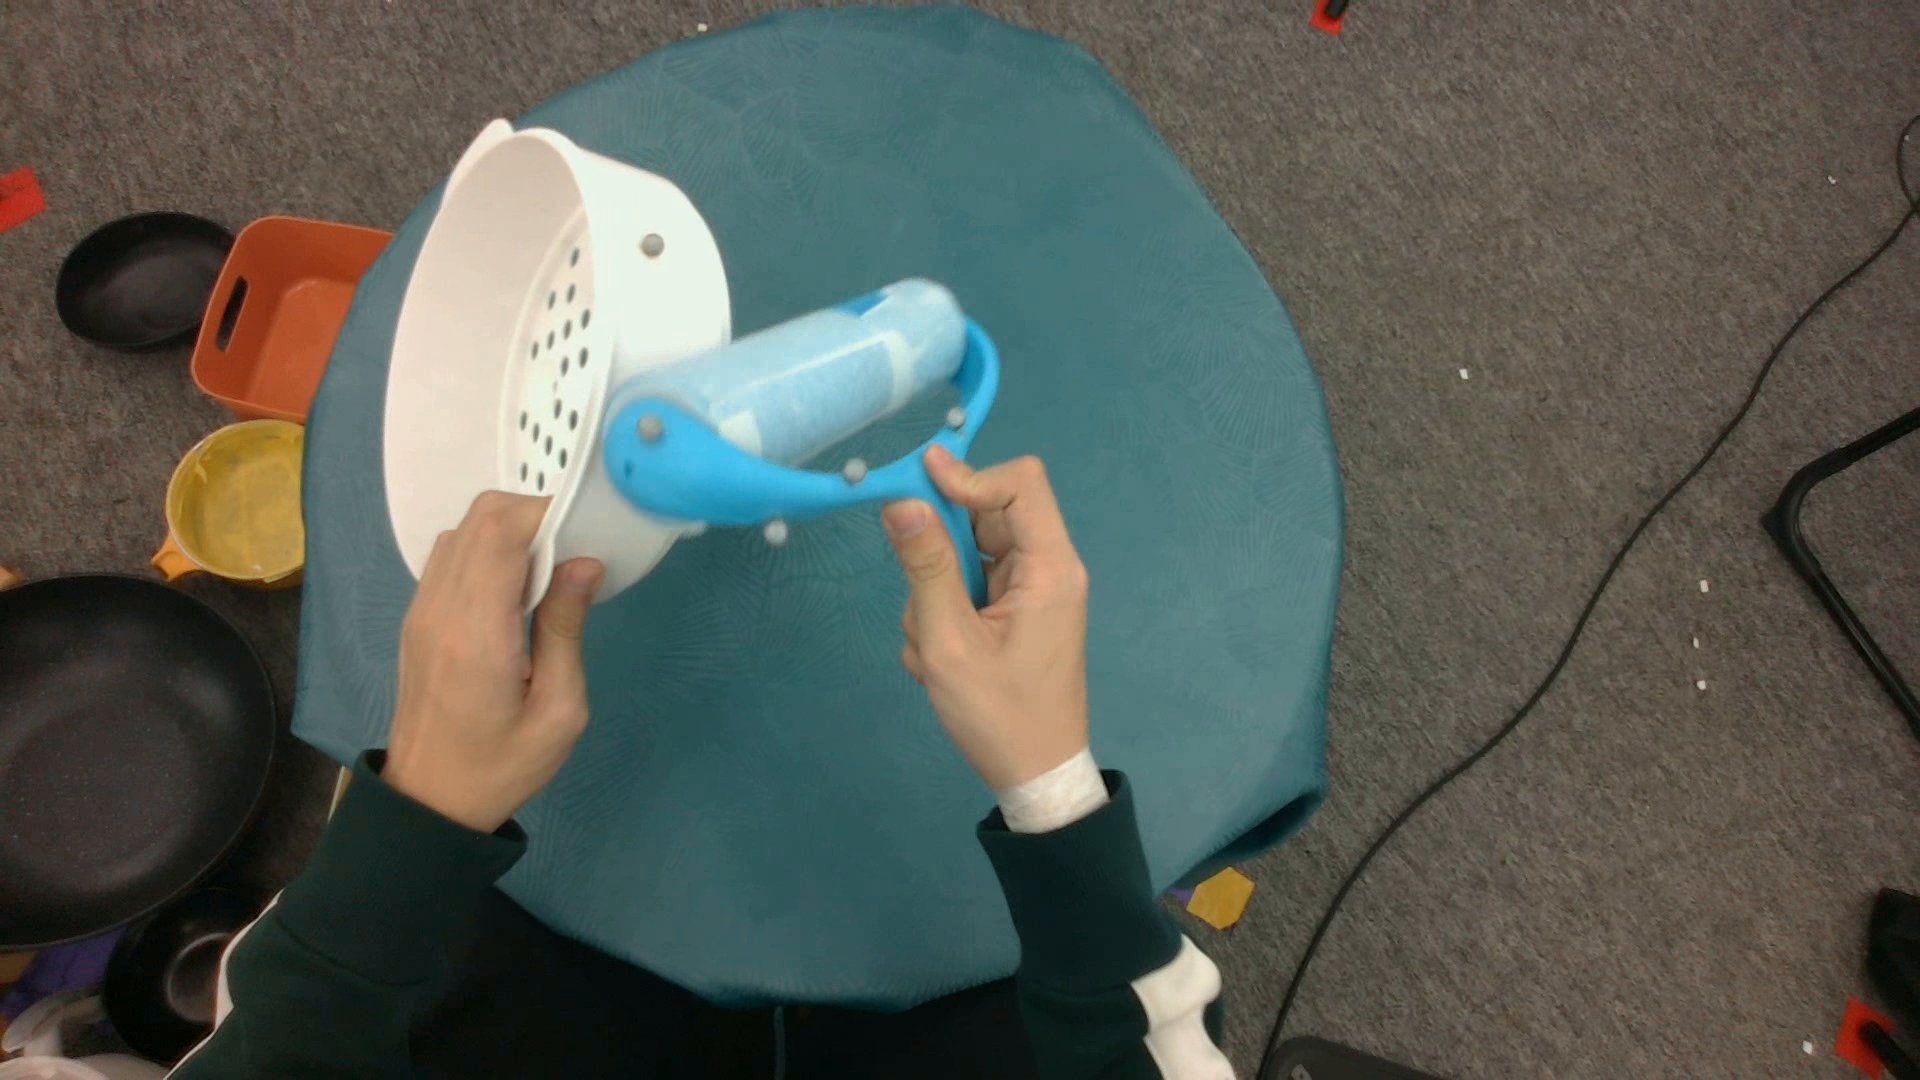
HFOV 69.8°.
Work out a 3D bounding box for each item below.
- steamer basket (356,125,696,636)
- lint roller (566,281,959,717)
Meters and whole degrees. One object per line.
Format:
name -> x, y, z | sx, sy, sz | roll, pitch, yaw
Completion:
steamer basket -> -0.193, -0.071, 0.600 | 0.069, 0.201, 0.231 | 5, 61, -44
lint roller -> -0.043, -0.013, 0.563 | 0.180, 0.067, 0.230 | 51, 28, -7
